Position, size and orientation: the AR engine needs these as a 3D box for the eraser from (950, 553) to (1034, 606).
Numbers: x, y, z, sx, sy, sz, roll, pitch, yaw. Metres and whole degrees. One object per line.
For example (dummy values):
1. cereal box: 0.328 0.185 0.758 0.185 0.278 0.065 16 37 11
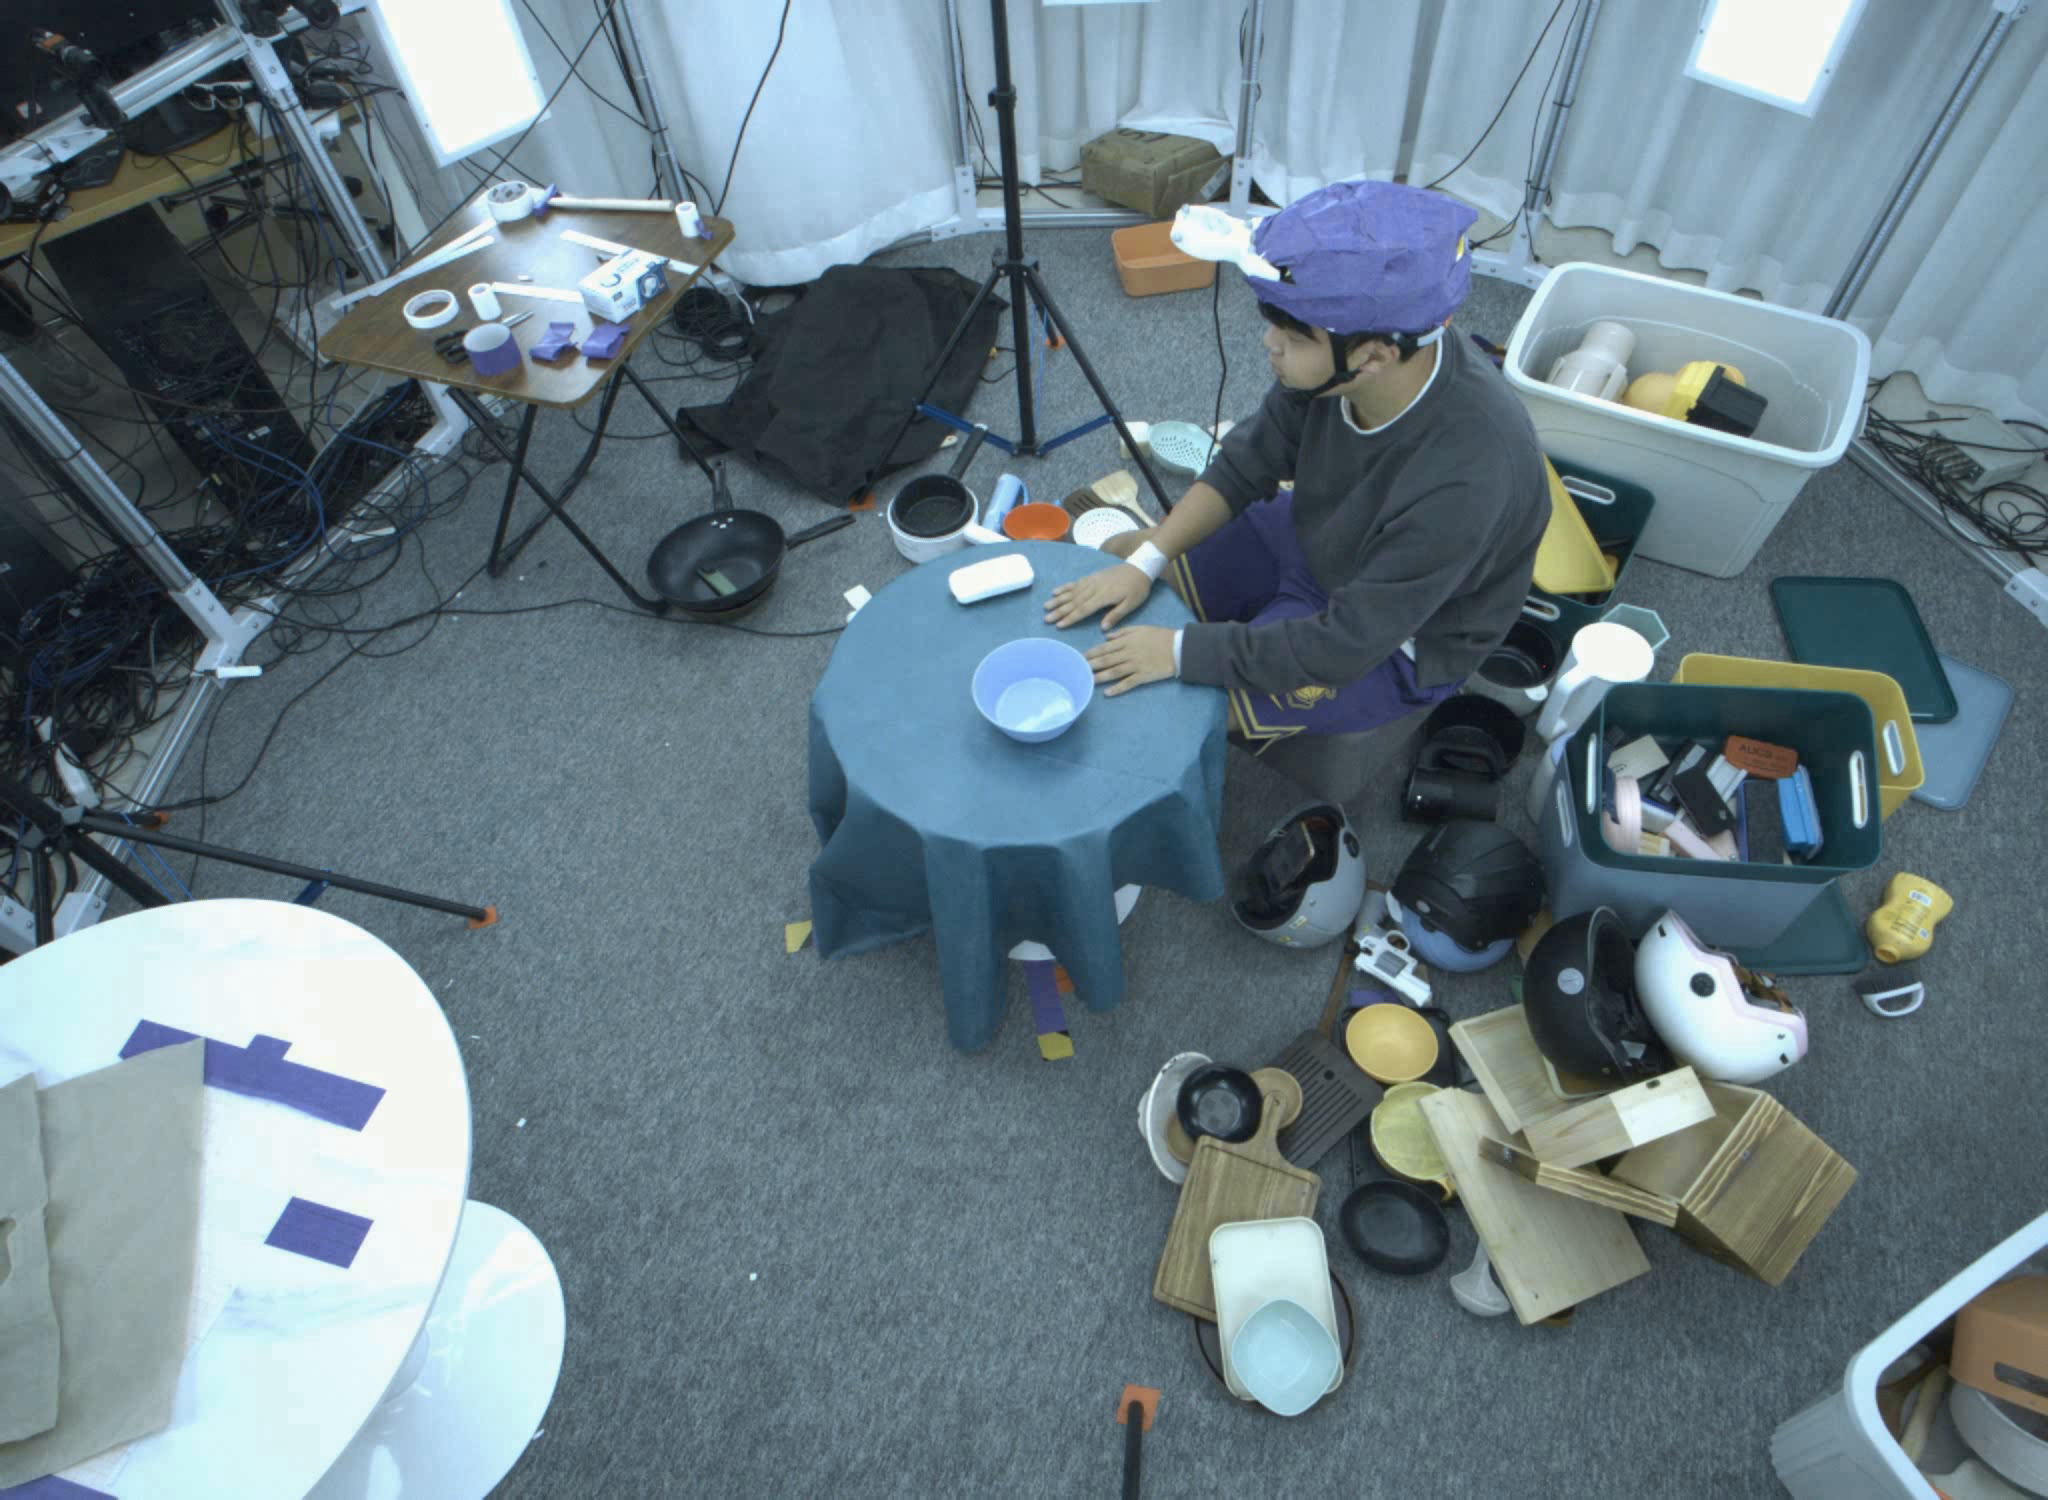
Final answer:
1. eraser: -0.052 -0.273 1.966 0.132 0.035 0.062 -17 57 -7

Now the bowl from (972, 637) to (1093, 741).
1. bowl: 0.014 -0.079 1.801 0.176 0.071 0.174 0 56 2
